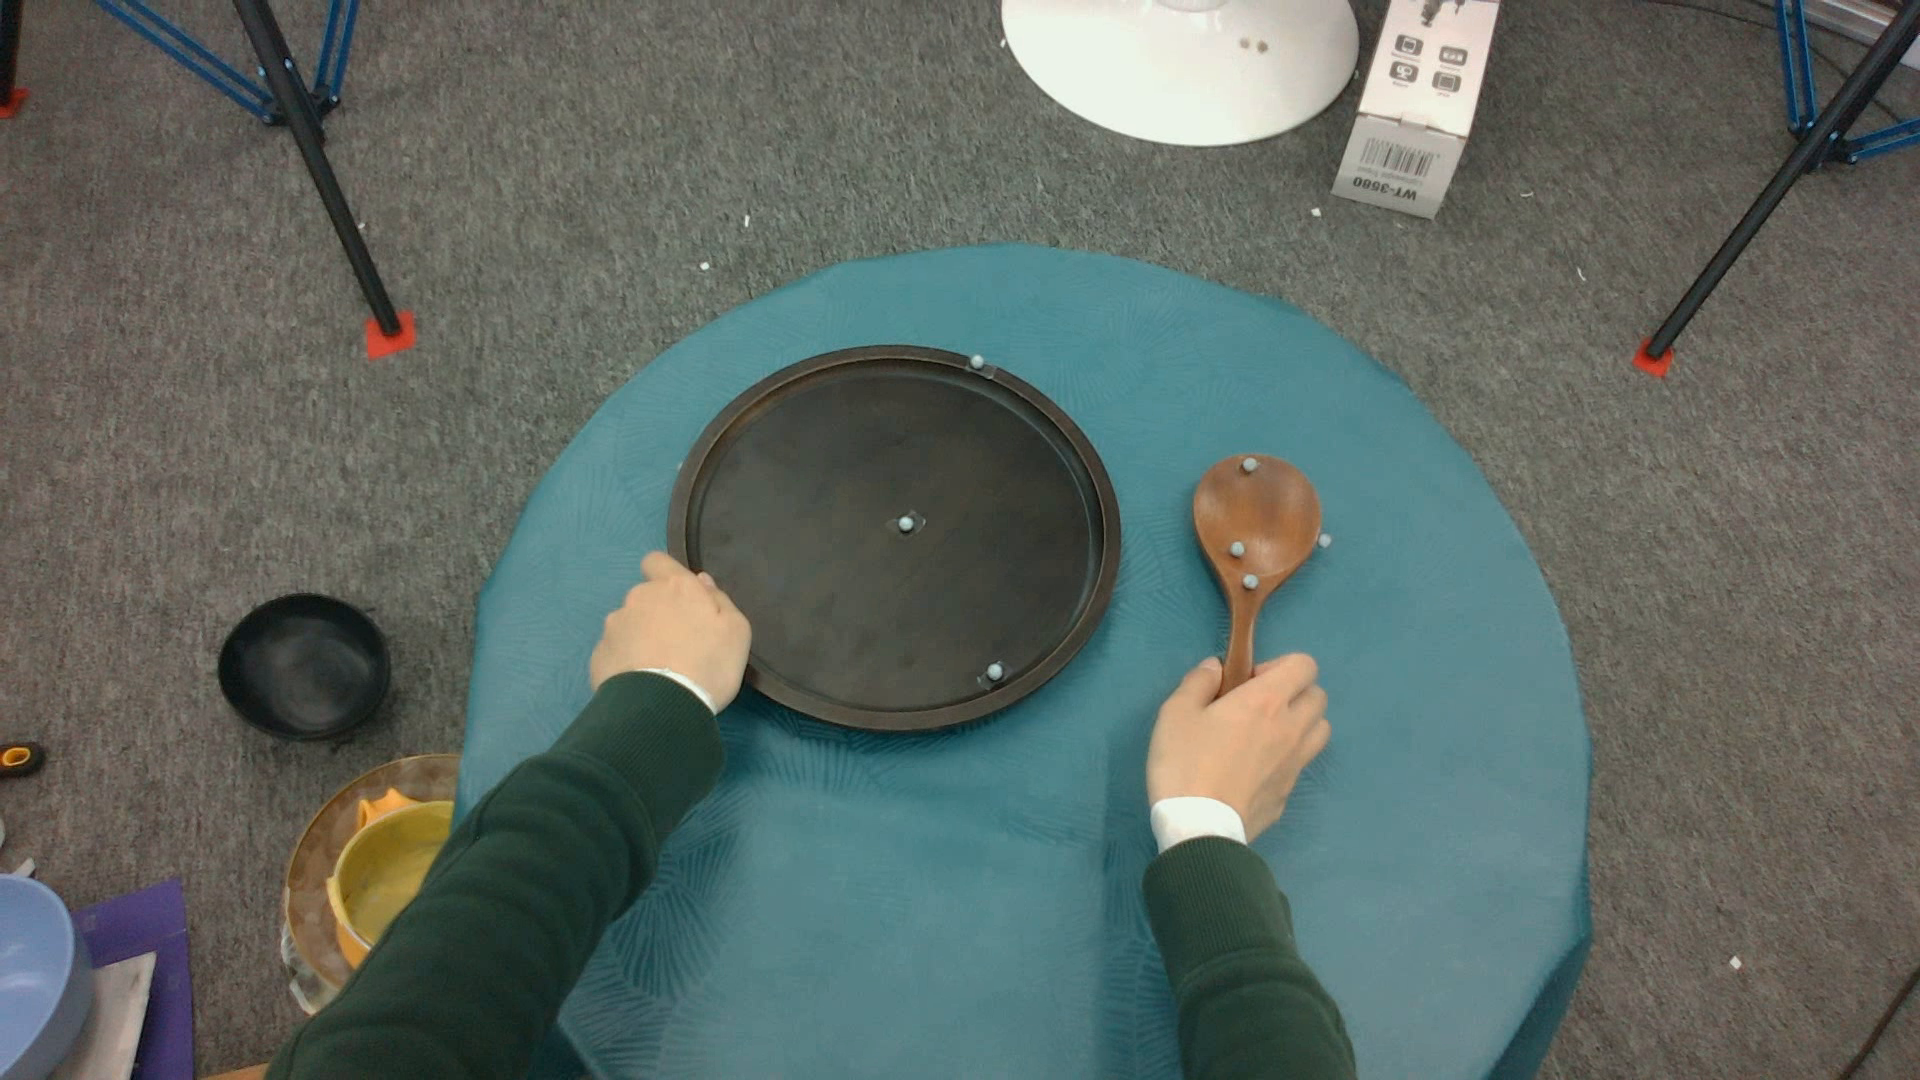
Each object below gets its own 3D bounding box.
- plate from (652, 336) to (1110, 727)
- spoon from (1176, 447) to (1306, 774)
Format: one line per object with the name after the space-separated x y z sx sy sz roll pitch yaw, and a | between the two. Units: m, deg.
-0.043 -0.011 0.770 0.255 0.029 0.256 2 57 -3 | plate
0.149 0.032 0.753 0.075 0.017 0.217 11 52 4 | spoon
